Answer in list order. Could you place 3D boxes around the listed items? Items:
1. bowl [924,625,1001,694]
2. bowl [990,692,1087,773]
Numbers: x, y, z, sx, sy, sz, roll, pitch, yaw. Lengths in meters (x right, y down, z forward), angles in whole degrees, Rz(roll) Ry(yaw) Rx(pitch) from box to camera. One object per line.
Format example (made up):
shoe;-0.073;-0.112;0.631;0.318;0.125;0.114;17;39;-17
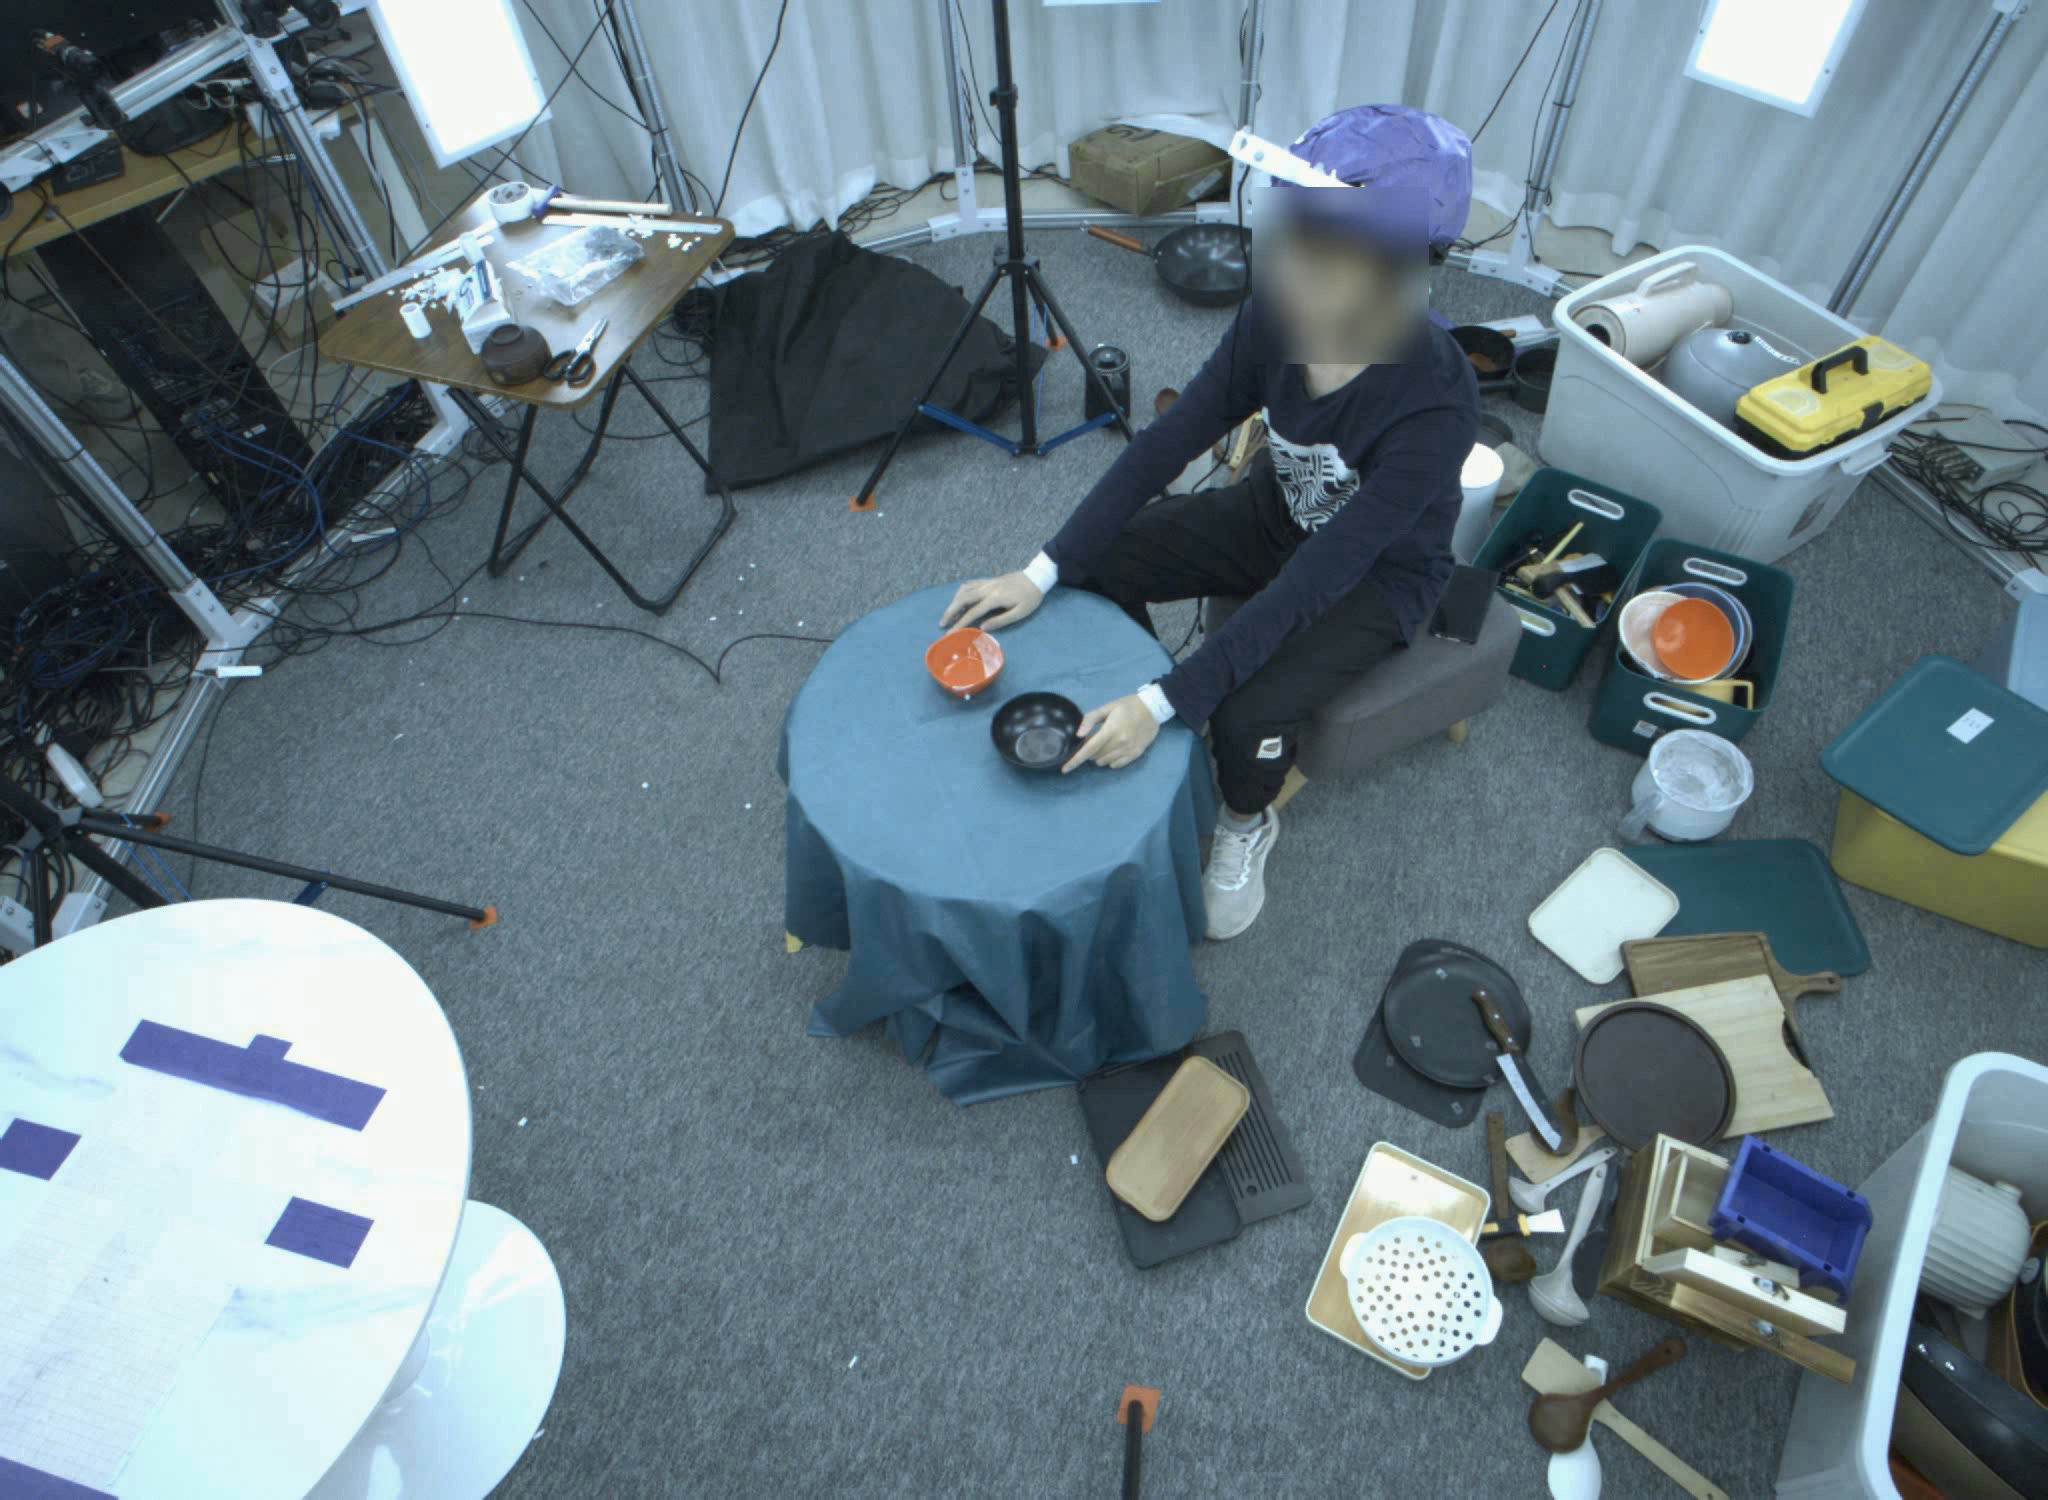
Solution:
bowl;-0.088;-0.129;1.851;0.118;0.052;0.117;-5;51;7
bowl;0.021;-0.017;1.779;0.140;0.050;0.138;2;52;-1
